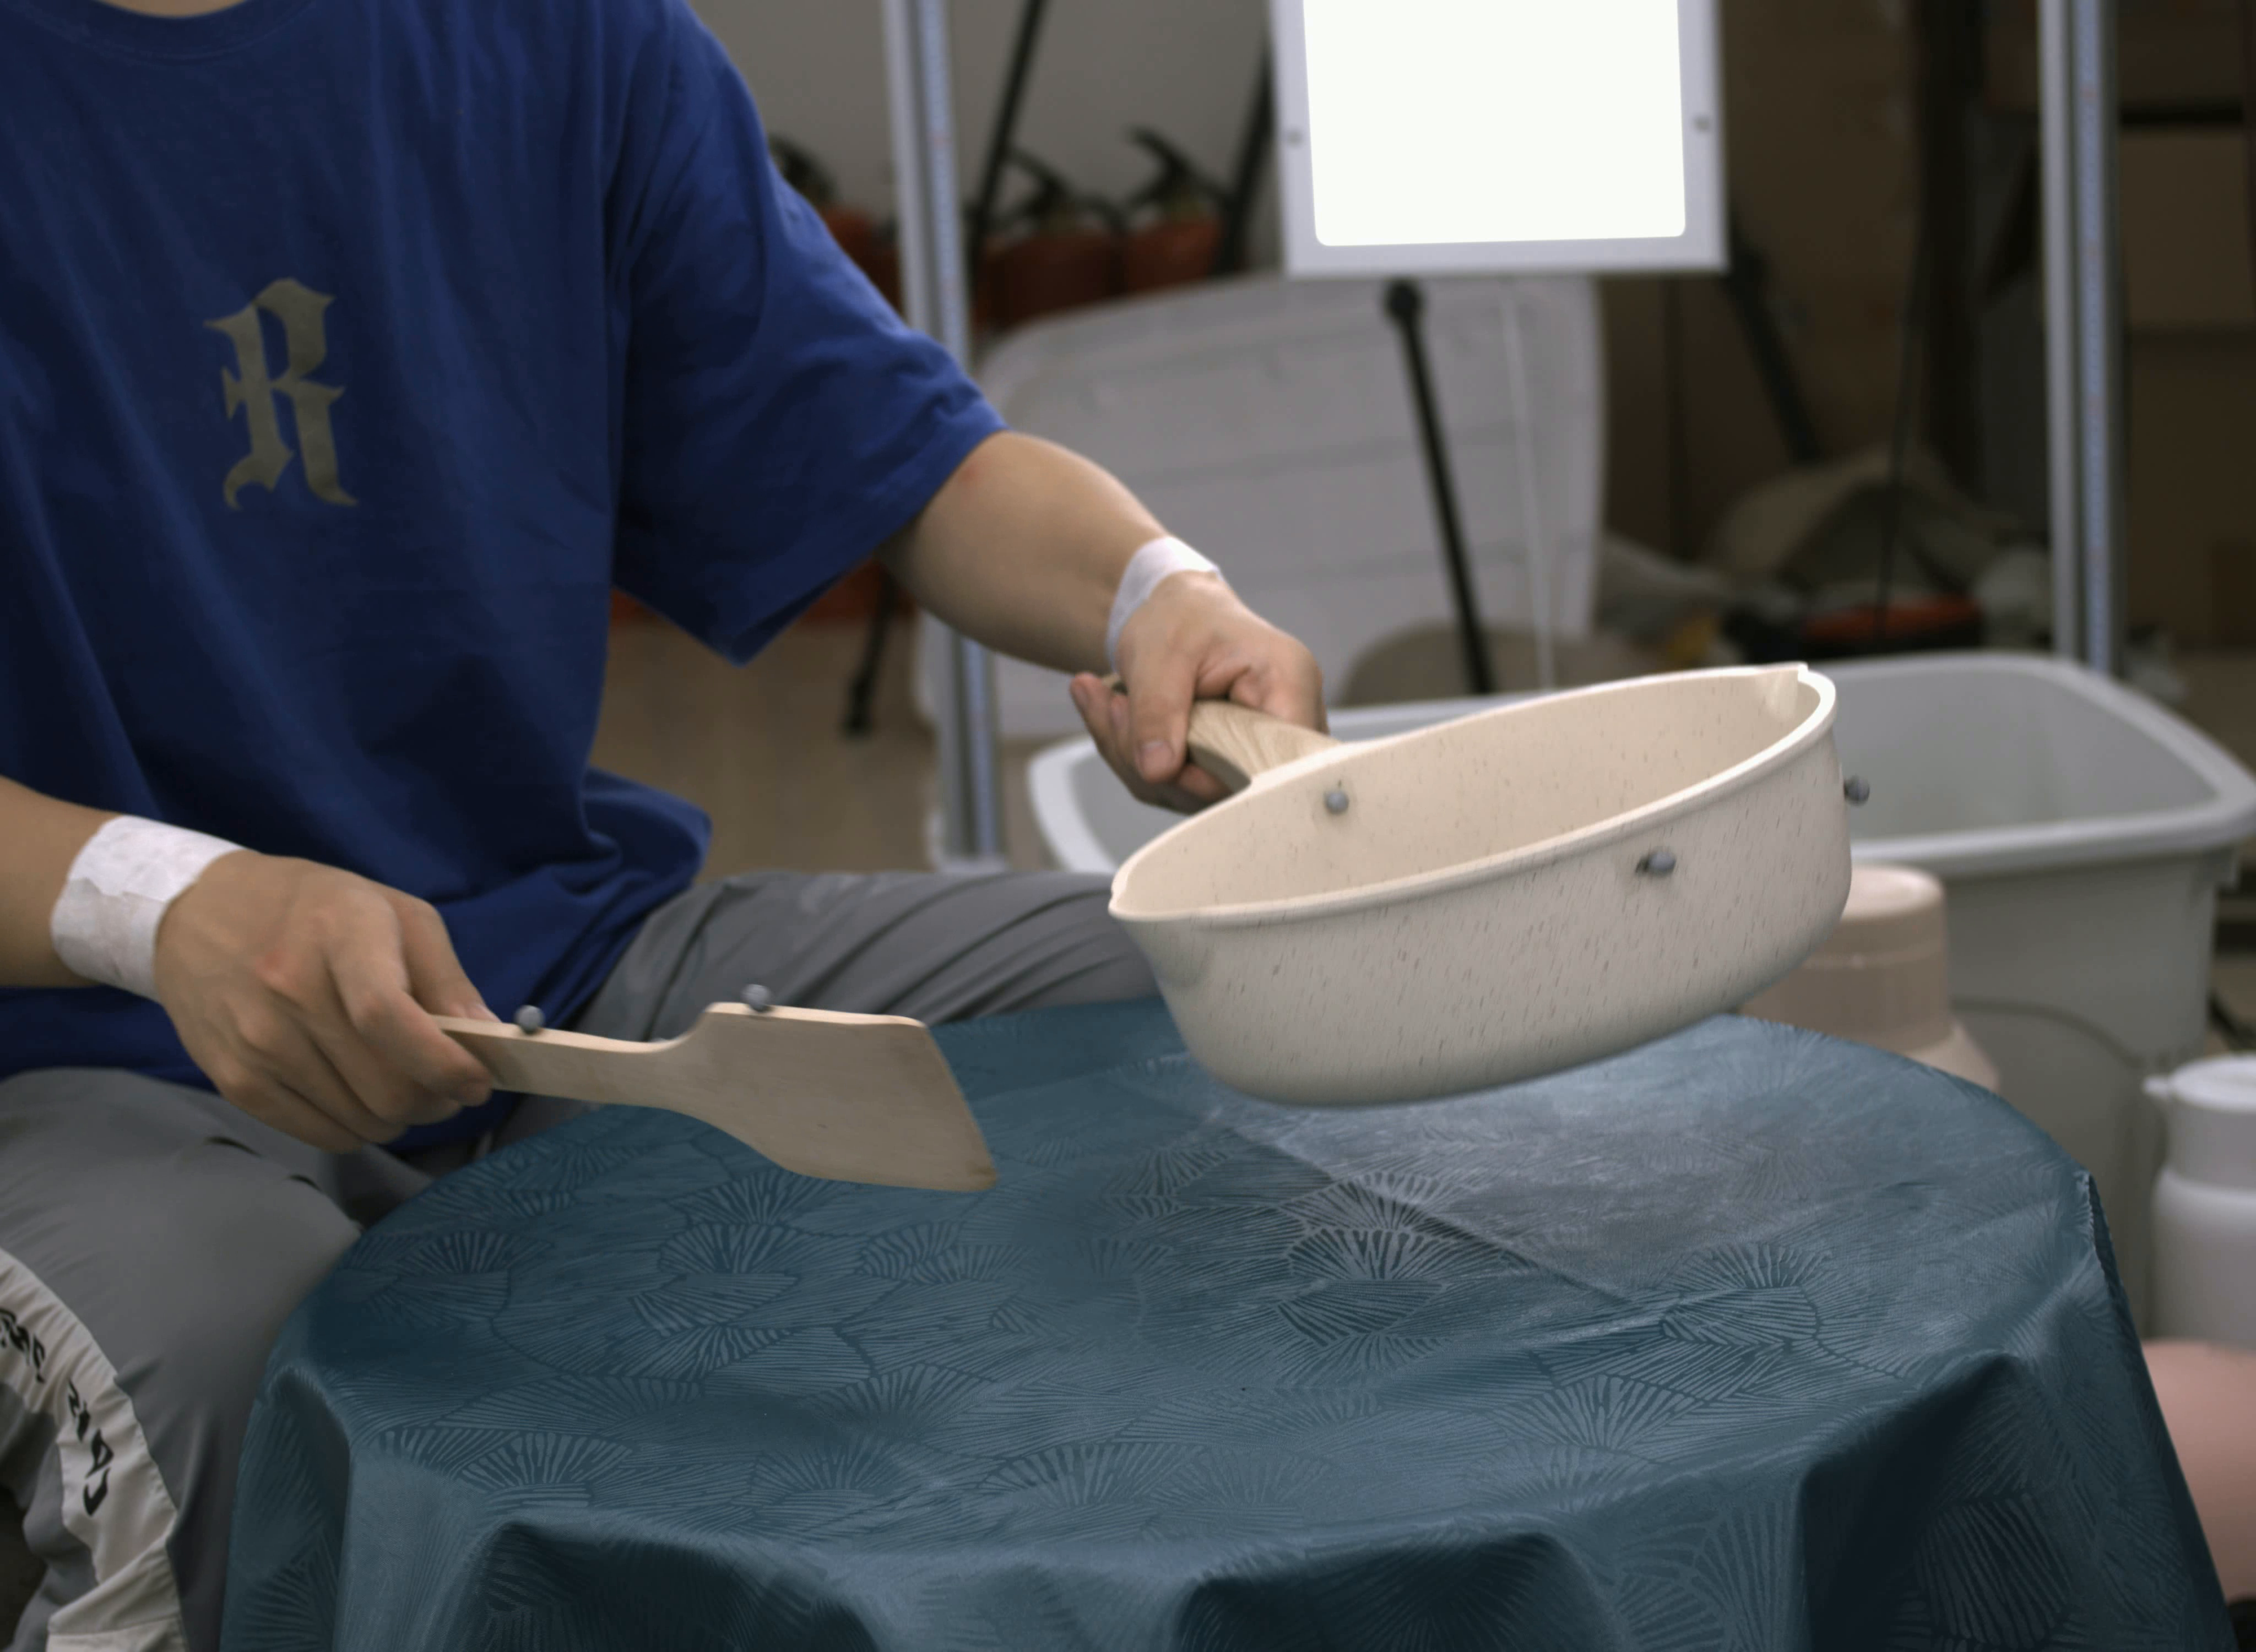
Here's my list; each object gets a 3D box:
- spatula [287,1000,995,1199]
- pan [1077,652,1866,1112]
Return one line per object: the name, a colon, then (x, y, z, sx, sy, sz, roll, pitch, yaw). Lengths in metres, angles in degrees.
spatula: (-0.167, 0.078, 1.777, 0.299, 0.072, 0.010, 5, 42, 39)
pan: (0.092, 0.010, 1.924, 0.259, 0.102, 0.441, -22, 12, -19)
